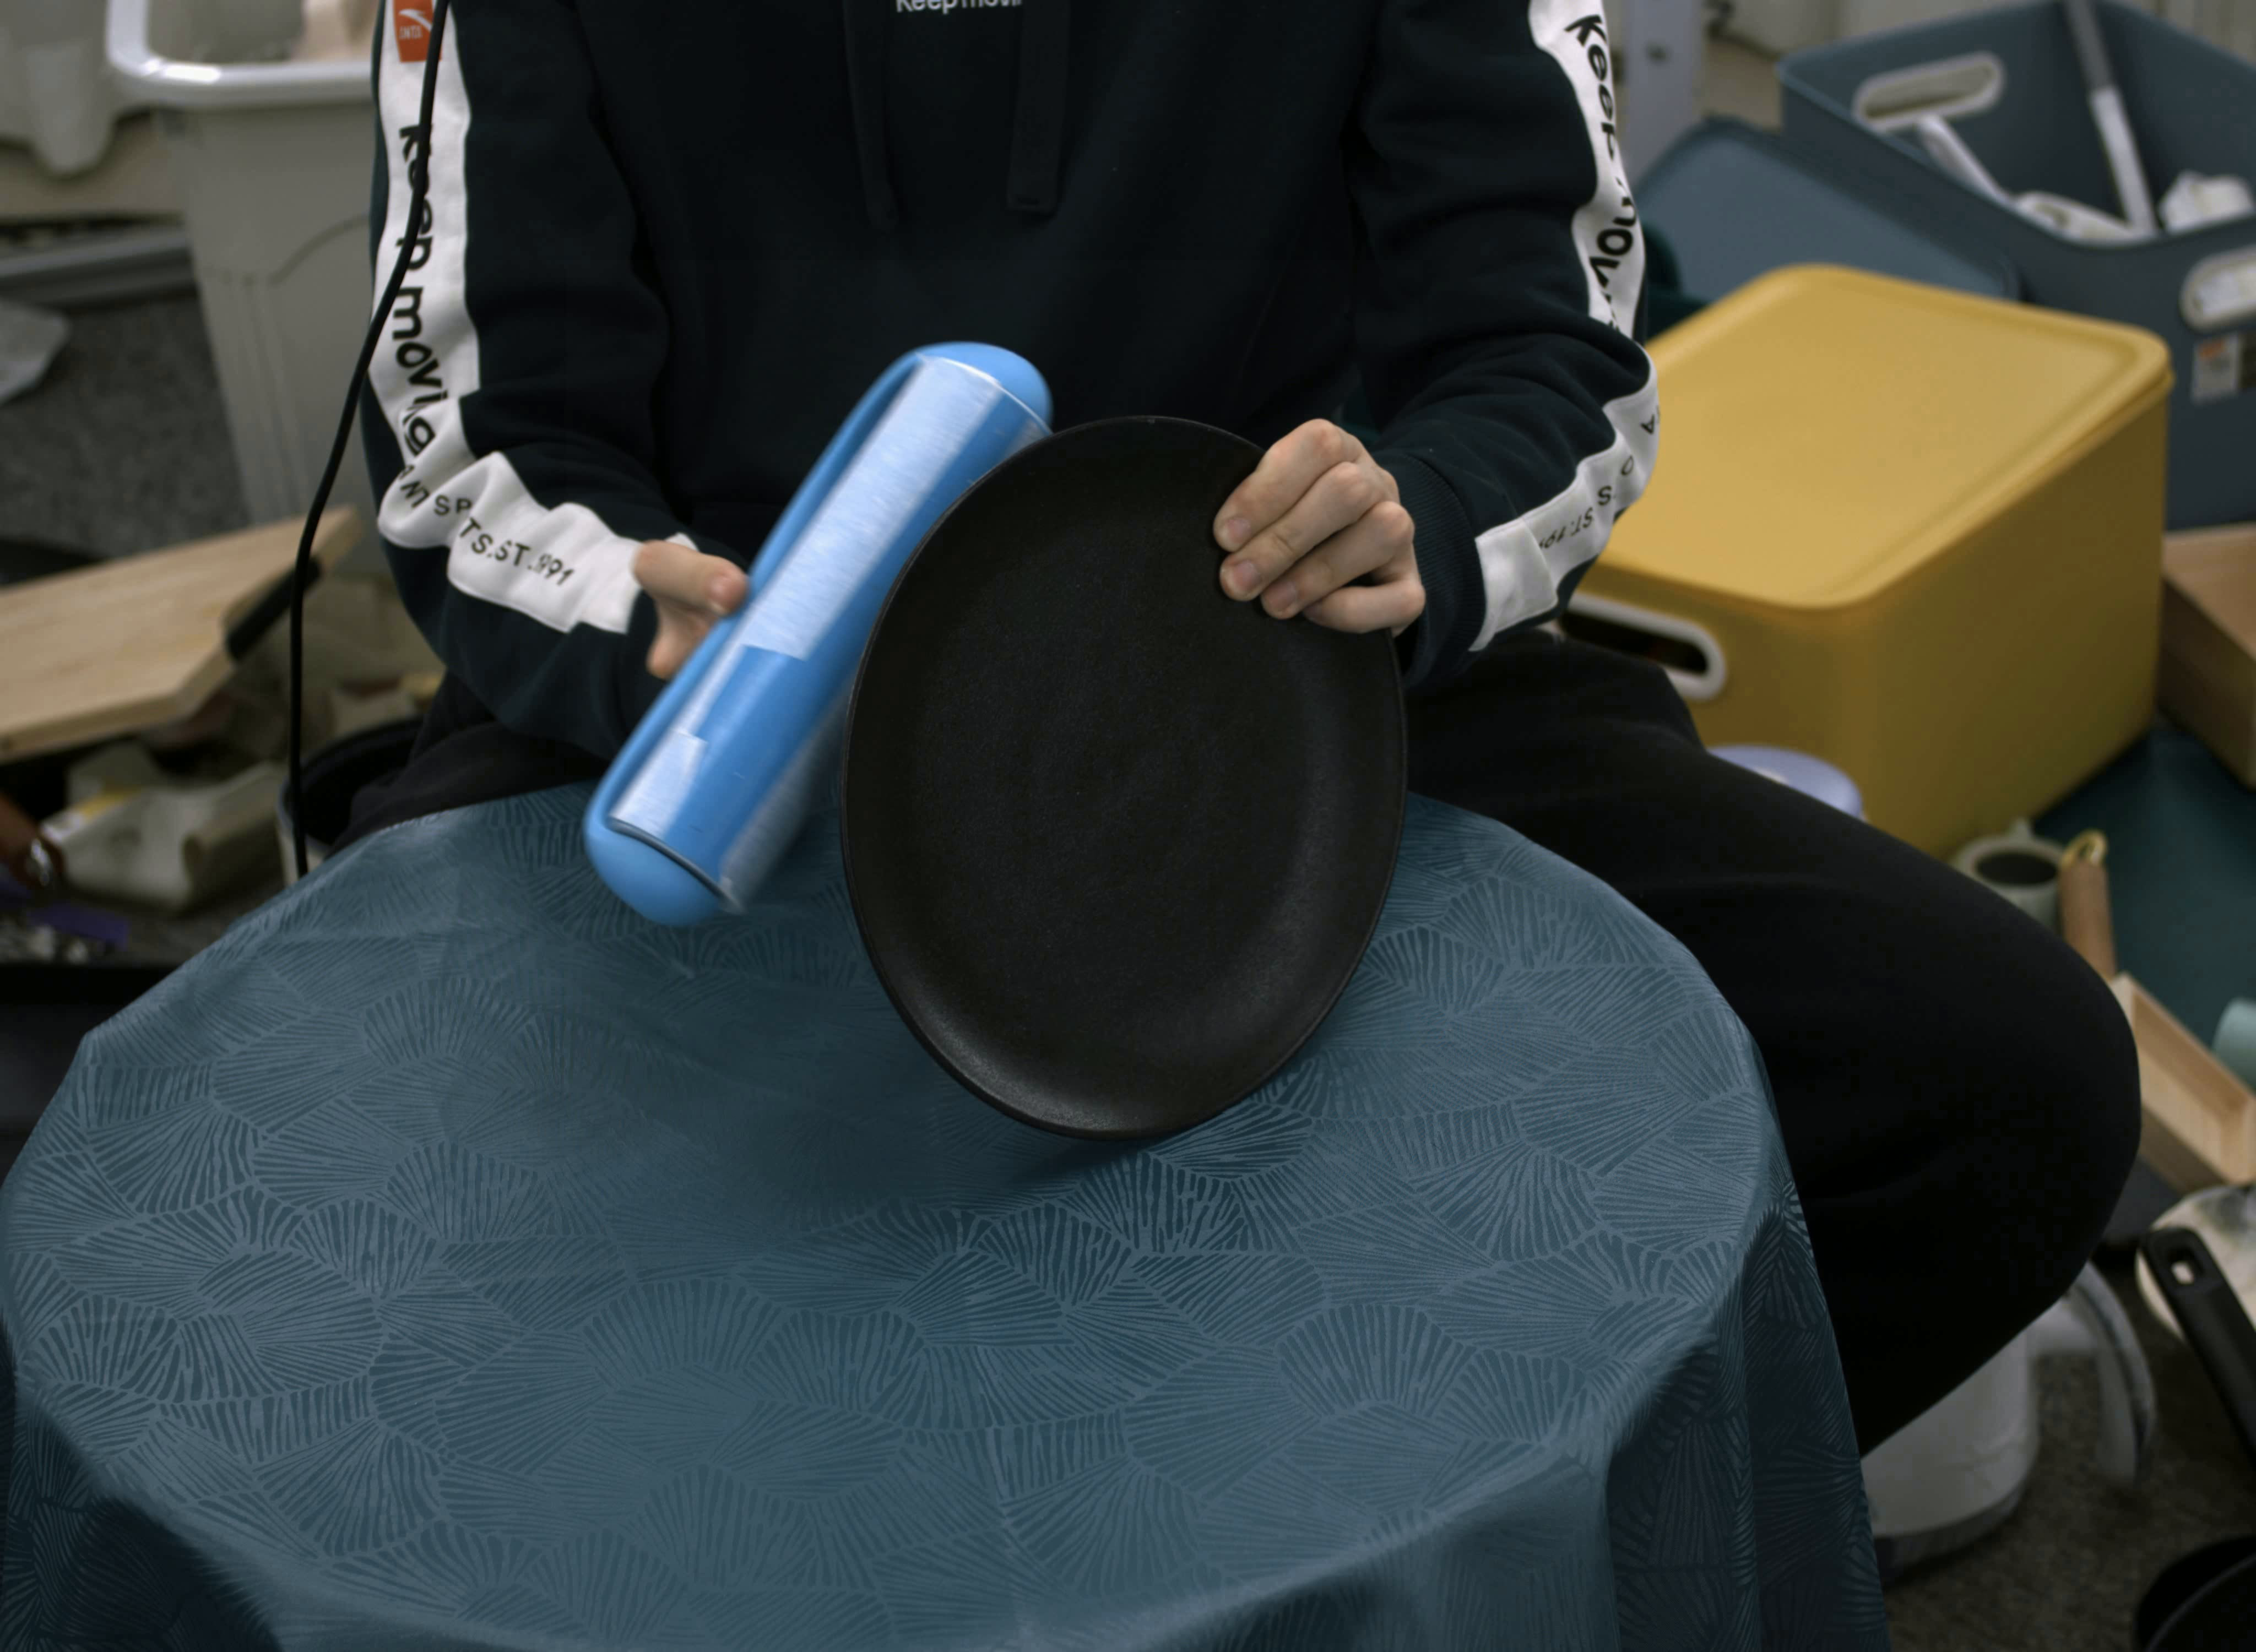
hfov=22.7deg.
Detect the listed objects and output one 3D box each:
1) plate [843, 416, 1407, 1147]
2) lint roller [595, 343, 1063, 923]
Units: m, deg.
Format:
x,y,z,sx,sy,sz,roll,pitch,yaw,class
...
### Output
x,y,z,sx,sy,sz,roll,pitch,yaw,class
-0.003,-0.015,1.879,0.247,0.243,0.023,-25,18,-37,plate
-0.107,-0.054,1.923,0.068,0.178,0.232,34,73,-4,lint roller
